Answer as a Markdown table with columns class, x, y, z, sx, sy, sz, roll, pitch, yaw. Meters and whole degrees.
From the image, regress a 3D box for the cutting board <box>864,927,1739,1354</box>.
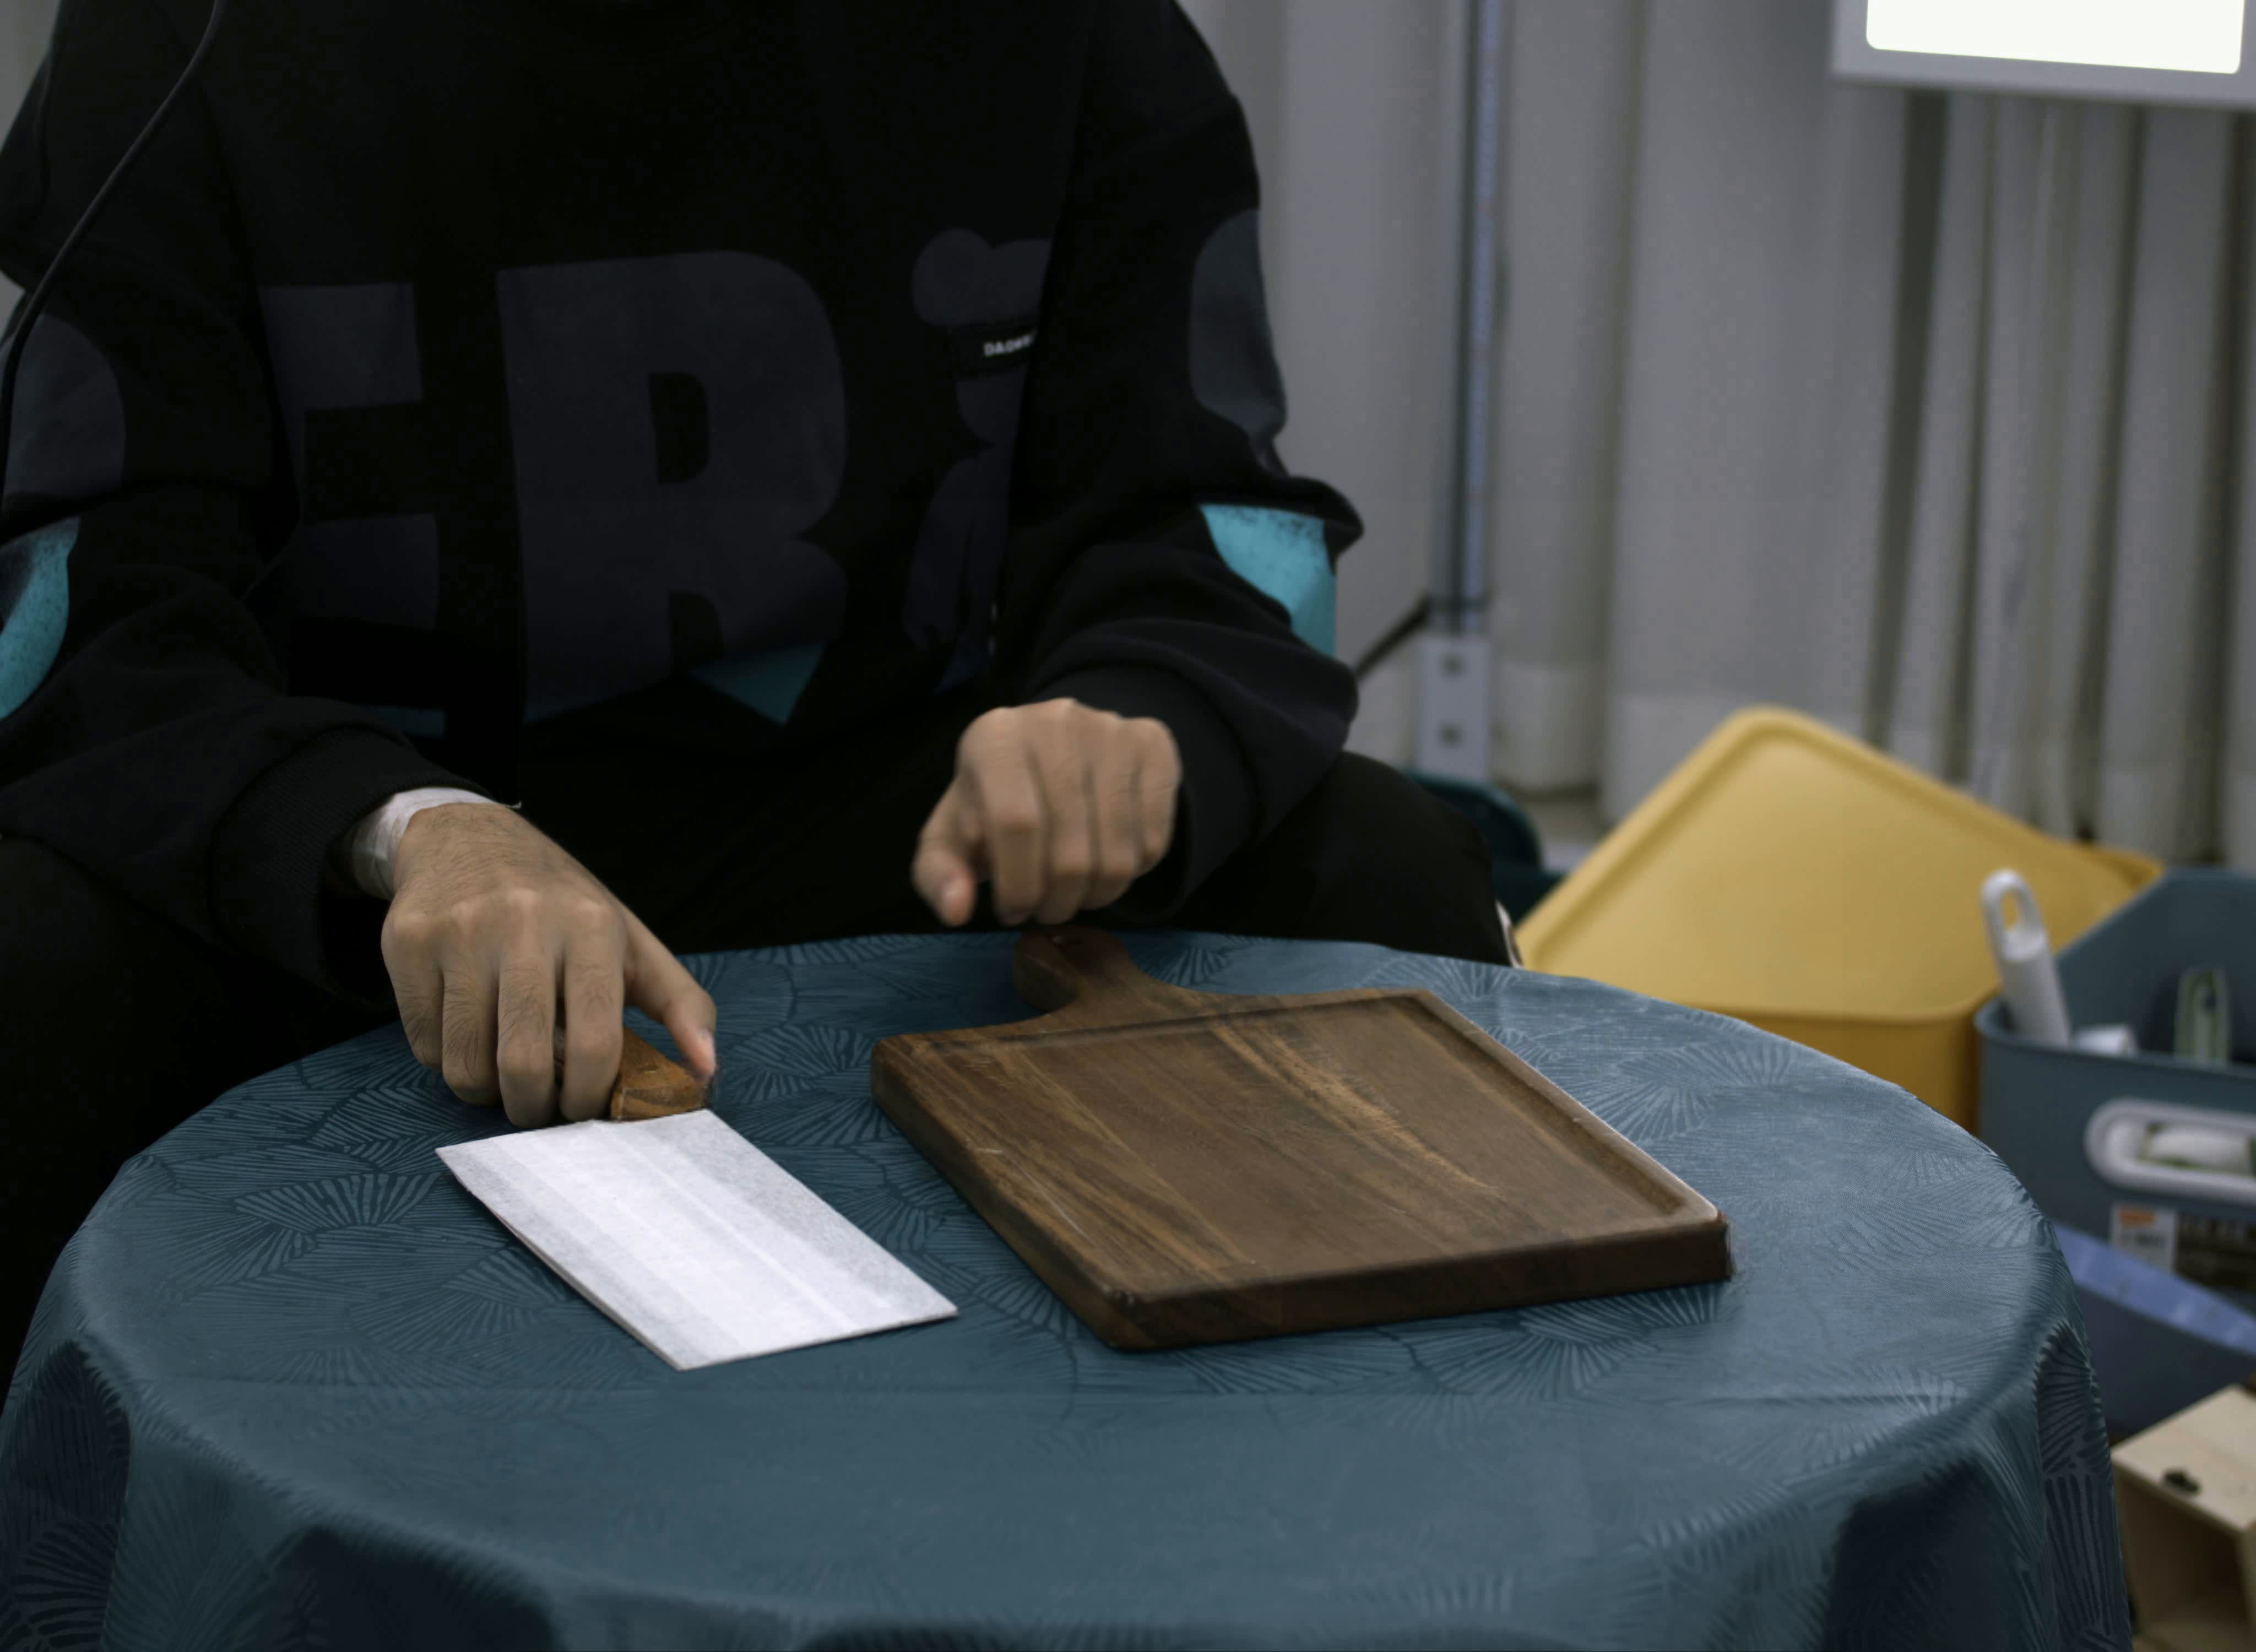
| class | x | y | z | sx | sy | sz | roll | pitch | yaw |
| --- | --- | --- | --- | --- | --- | --- | --- | --- | --- |
| cutting board | 0.031 | 0.089 | 1.670 | 0.201 | 0.023 | 0.348 | -5 | 16 | -19 |

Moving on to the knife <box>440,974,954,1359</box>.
| class | x | y | z | sx | sy | sz | roll | pitch | yaw |
| --- | --- | --- | --- | --- | --- | --- | --- | --- | --- |
| knife | -0.157 | 0.104 | 1.619 | 0.093 | 0.021 | 0.302 | -10 | 21 | -26 |
